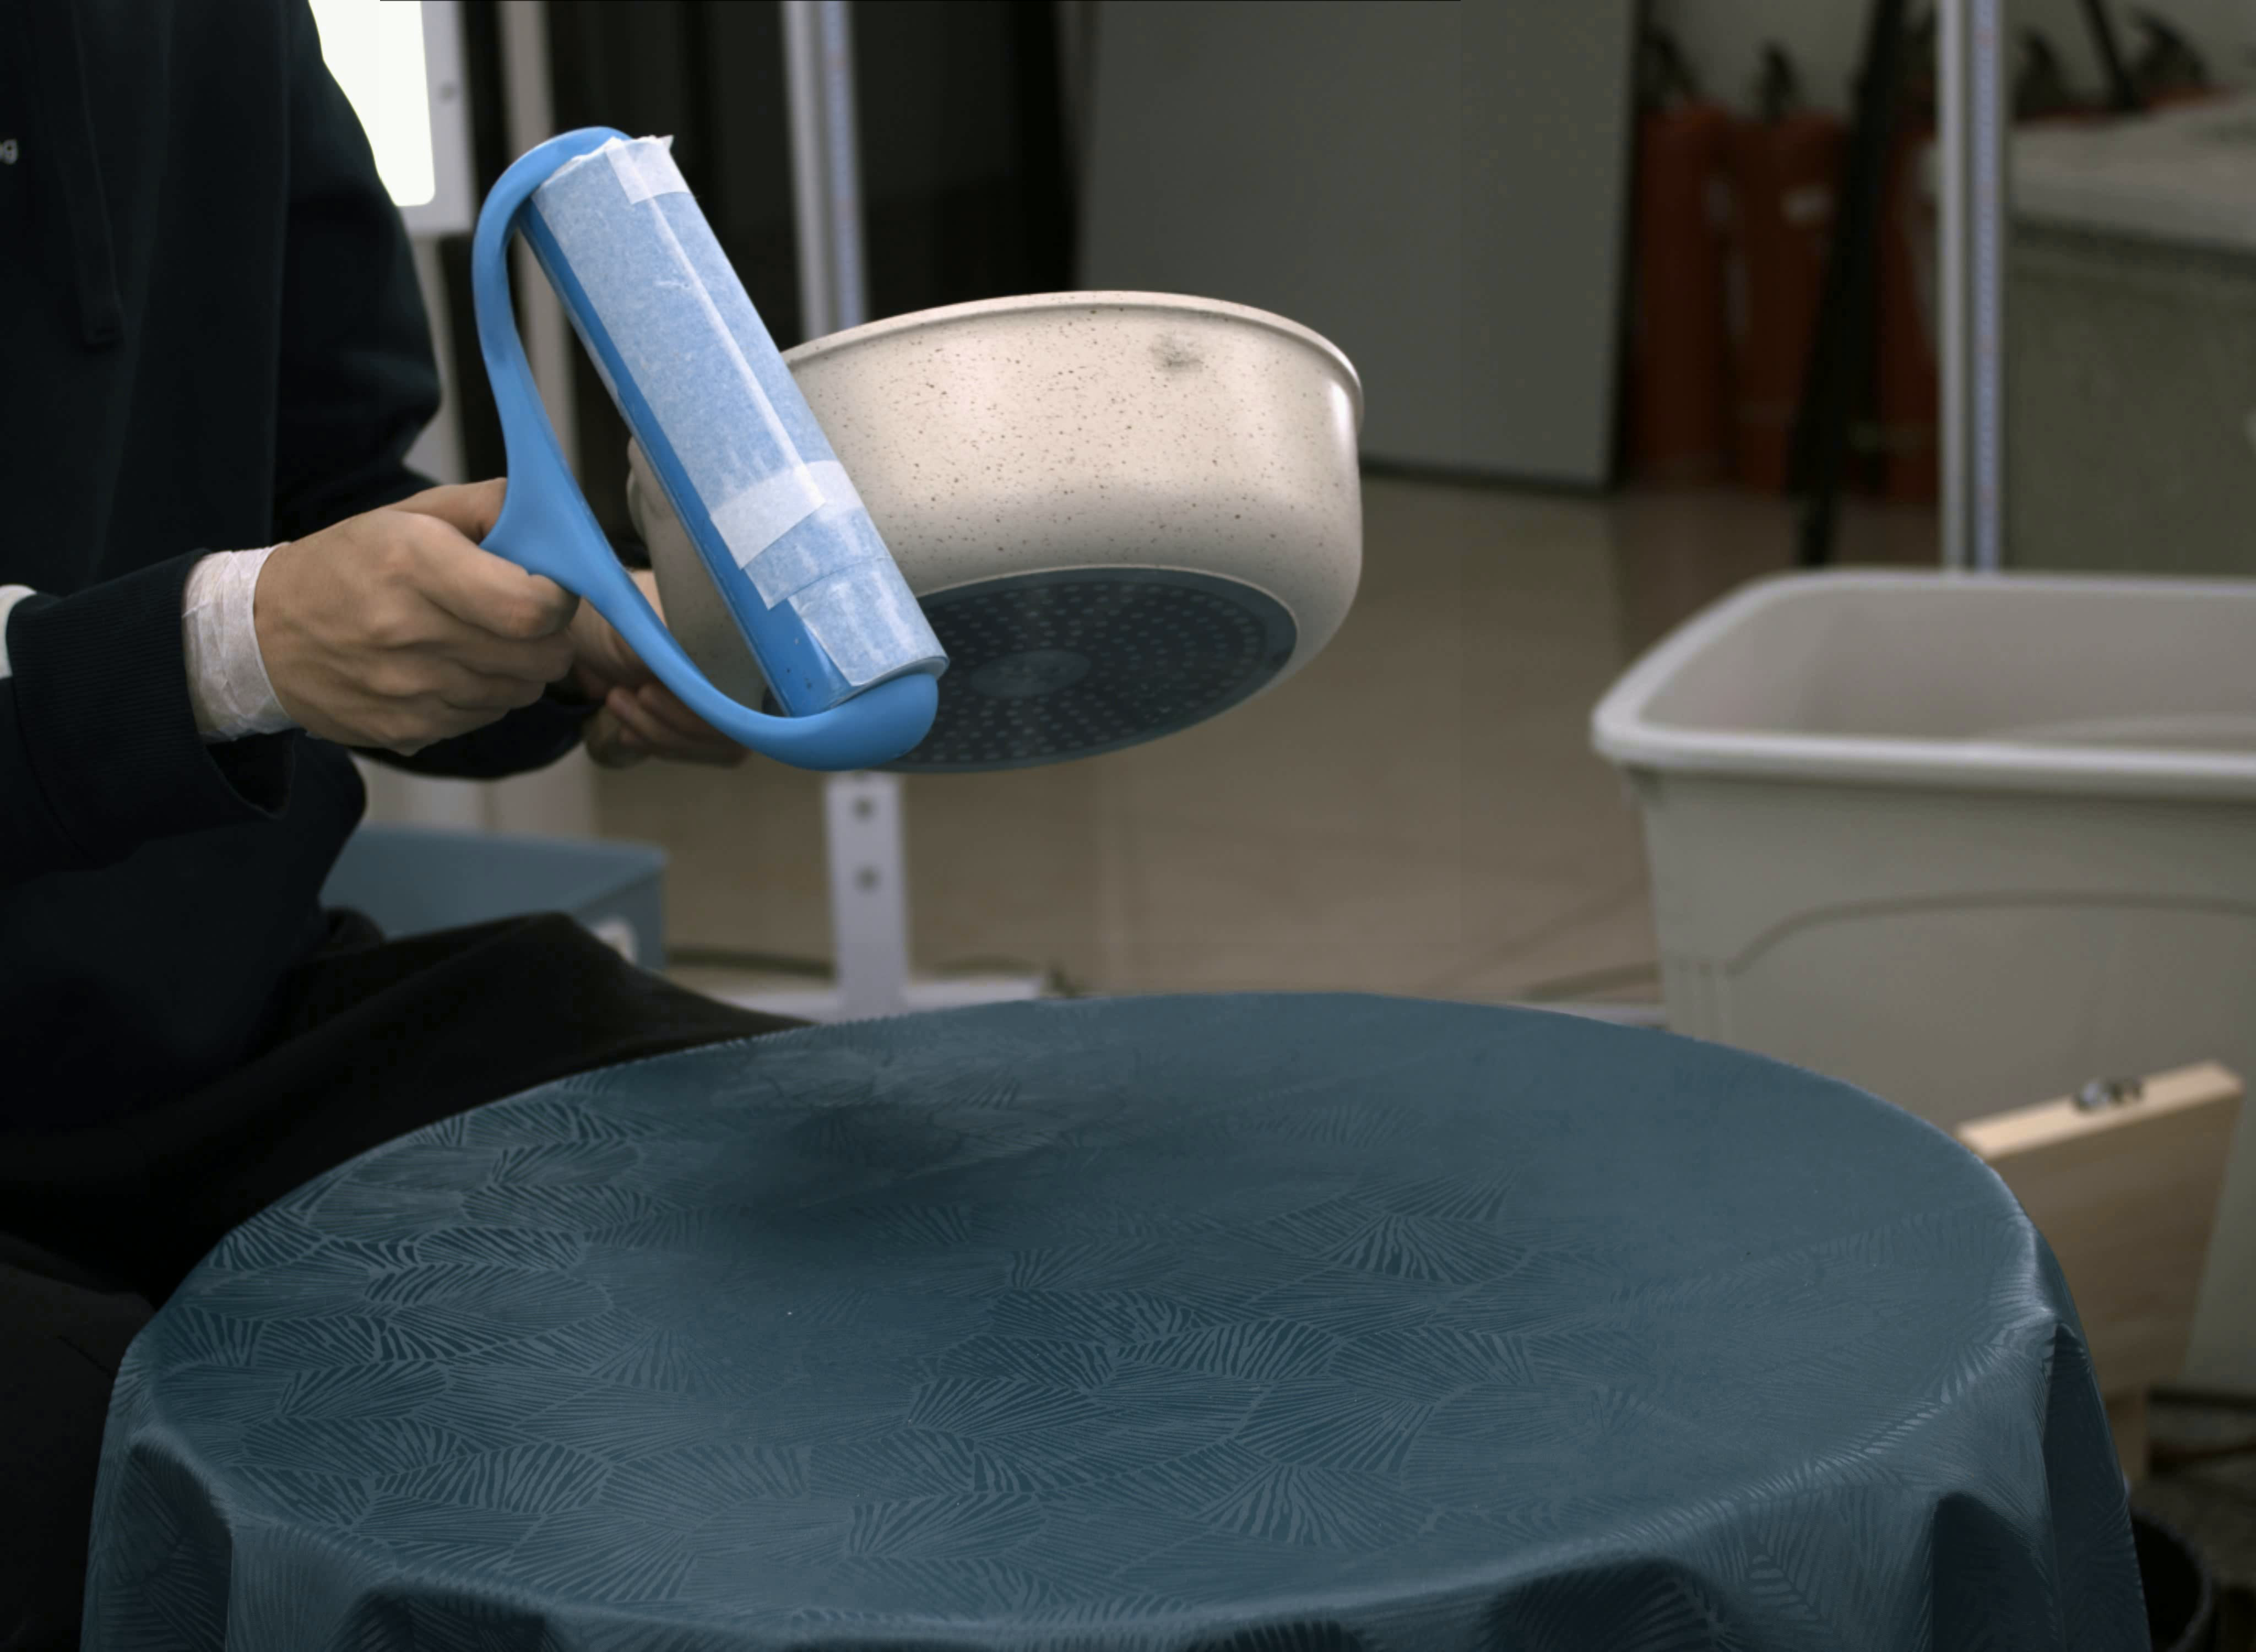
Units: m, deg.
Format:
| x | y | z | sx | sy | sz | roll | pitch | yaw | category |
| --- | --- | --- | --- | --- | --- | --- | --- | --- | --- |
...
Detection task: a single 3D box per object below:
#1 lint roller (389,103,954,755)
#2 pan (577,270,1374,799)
| x | y | z | sx | sy | sz | roll | pitch | yaw | category |
| --- | --- | --- | --- | --- | --- | --- | --- | --- | --- |
| -0.169 | -0.092 | 1.701 | 0.180 | 0.231 | 0.067 | -35 | -13 | 15 | lint roller |
| -0.081 | -0.062 | 1.880 | 0.257 | 0.103 | 0.439 | 2 | -23 | -31 | pan |
